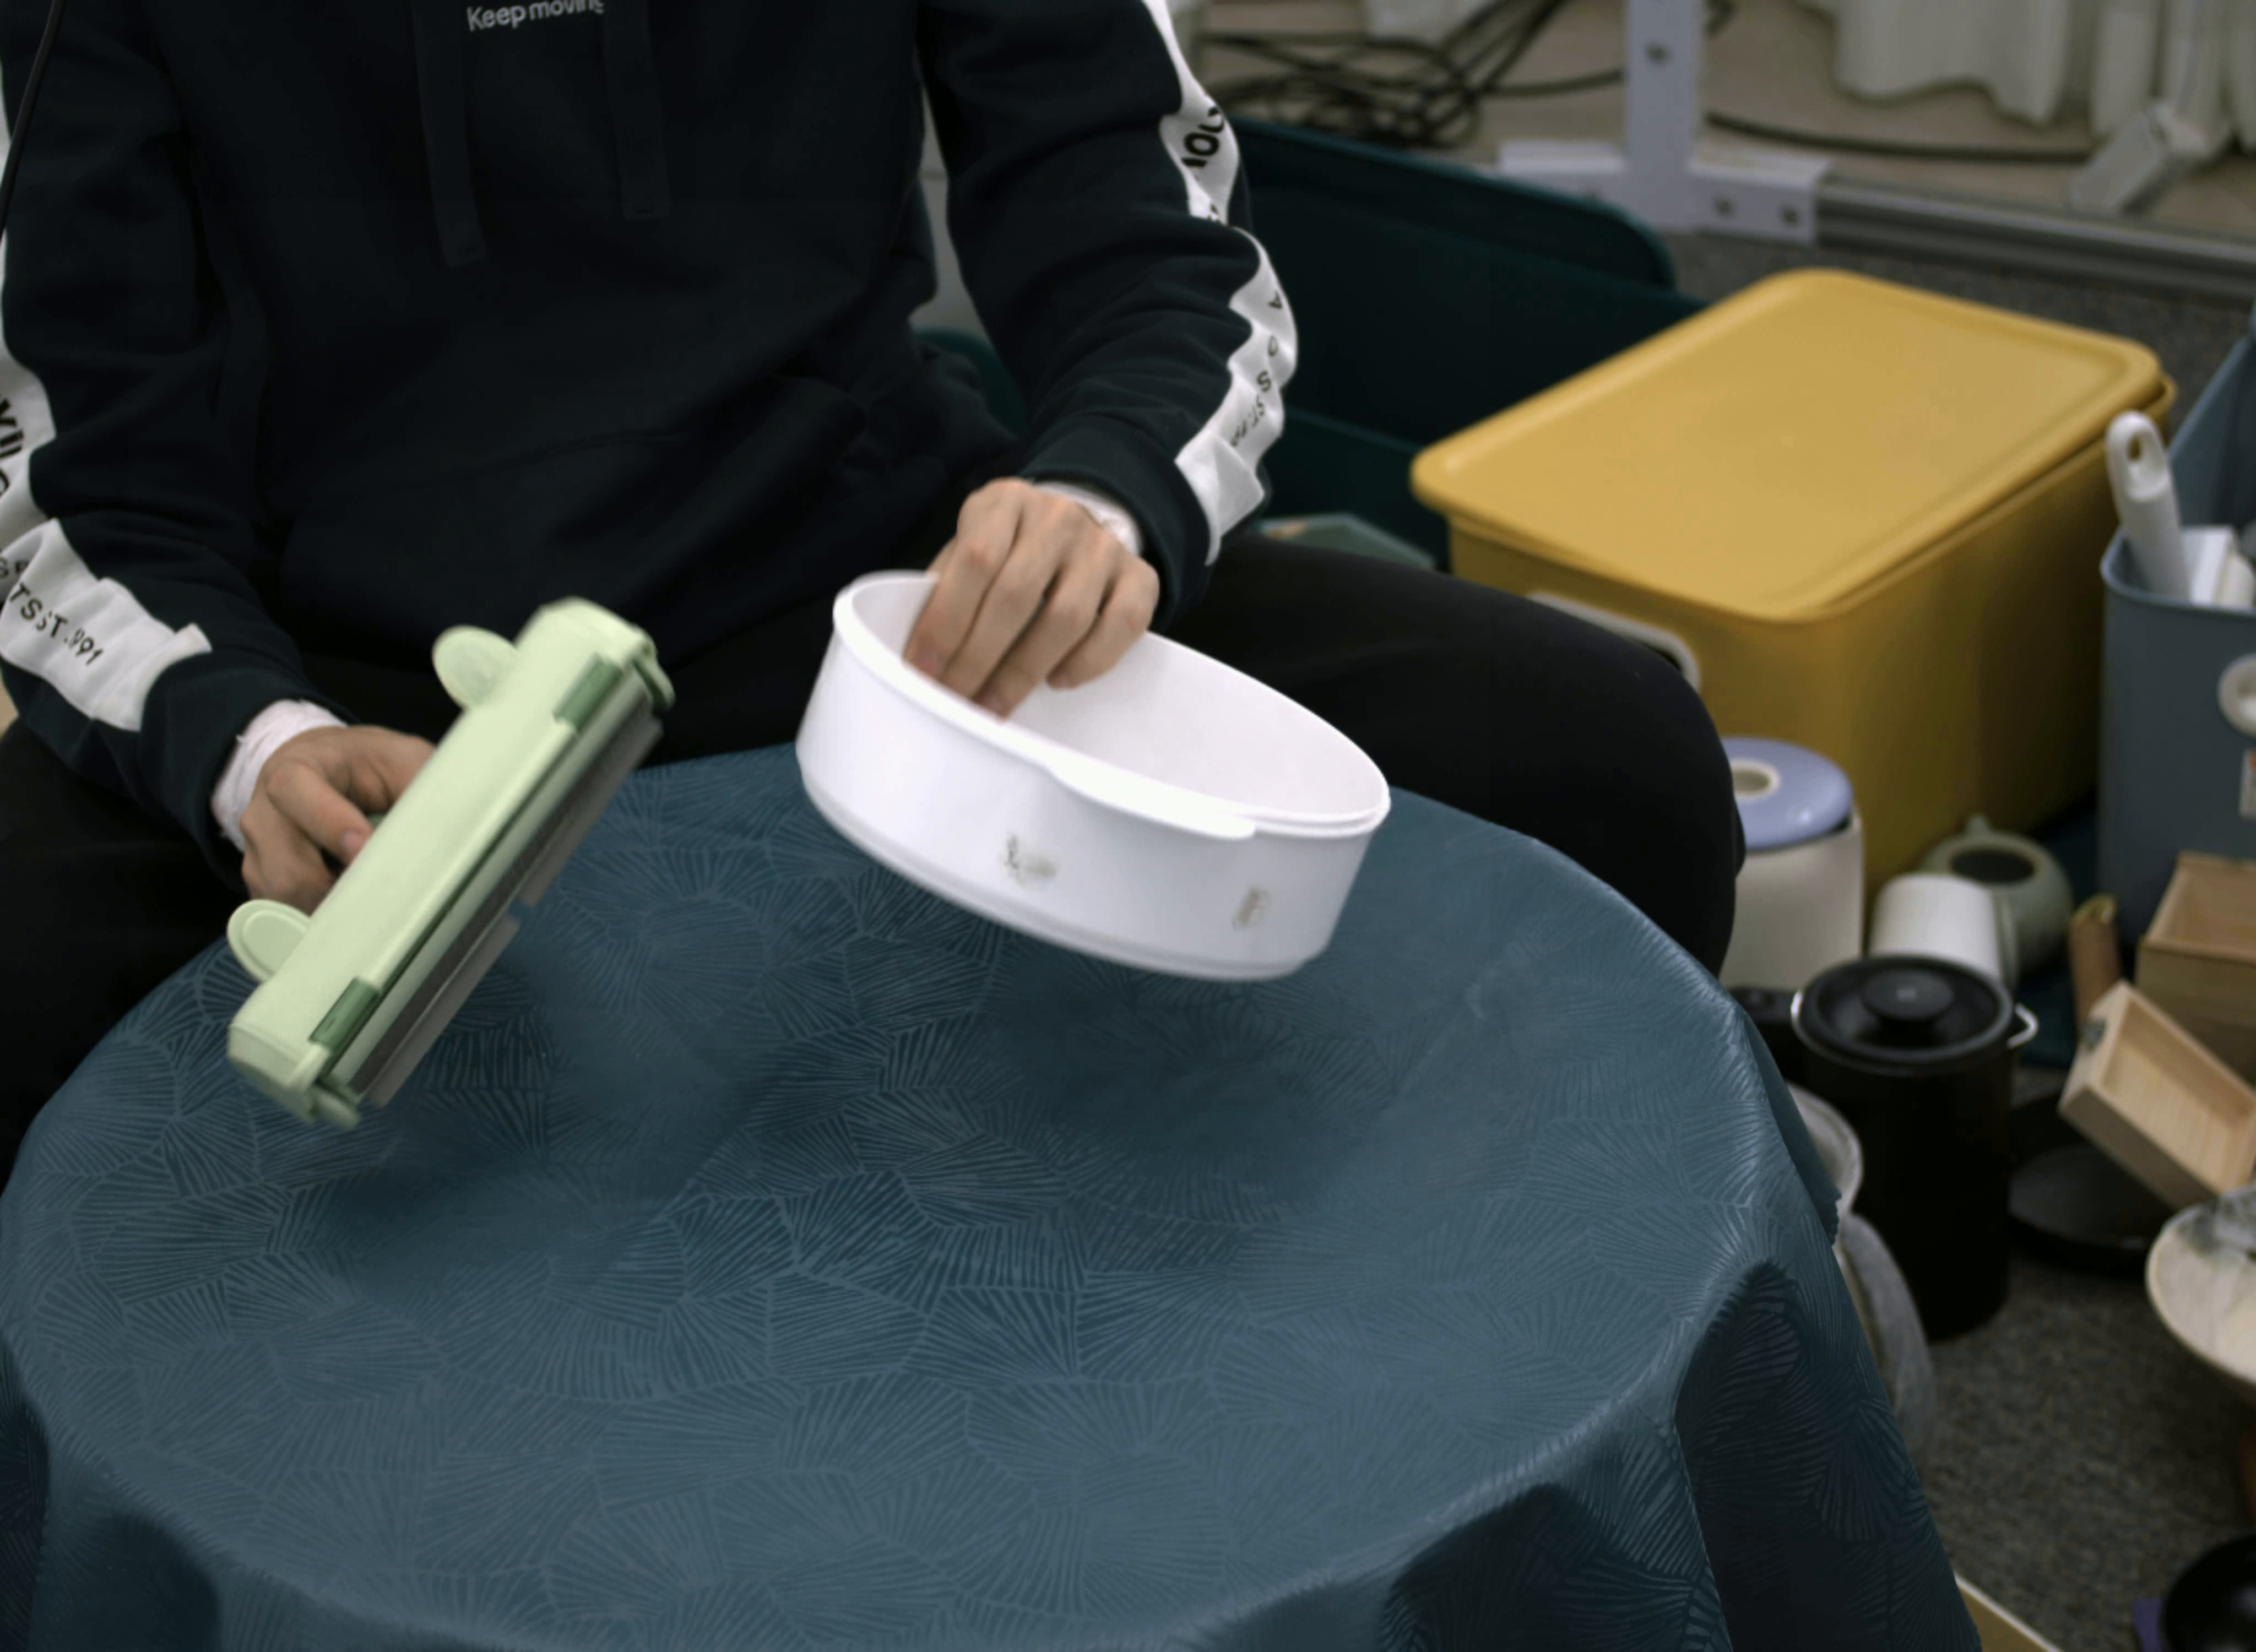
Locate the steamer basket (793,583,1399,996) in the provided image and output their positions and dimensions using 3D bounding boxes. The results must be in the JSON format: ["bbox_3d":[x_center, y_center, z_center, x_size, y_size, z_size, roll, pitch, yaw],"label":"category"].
[{"bbox_3d":[-0.012,-0.011,1.896,0.201,0.069,0.233,16,18,-14],"label":"steamer basket"}]

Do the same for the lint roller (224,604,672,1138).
[{"bbox_3d":[-0.259,0.005,1.925,0.201,0.081,0.182,-54,28,-16],"label":"lint roller"}]
